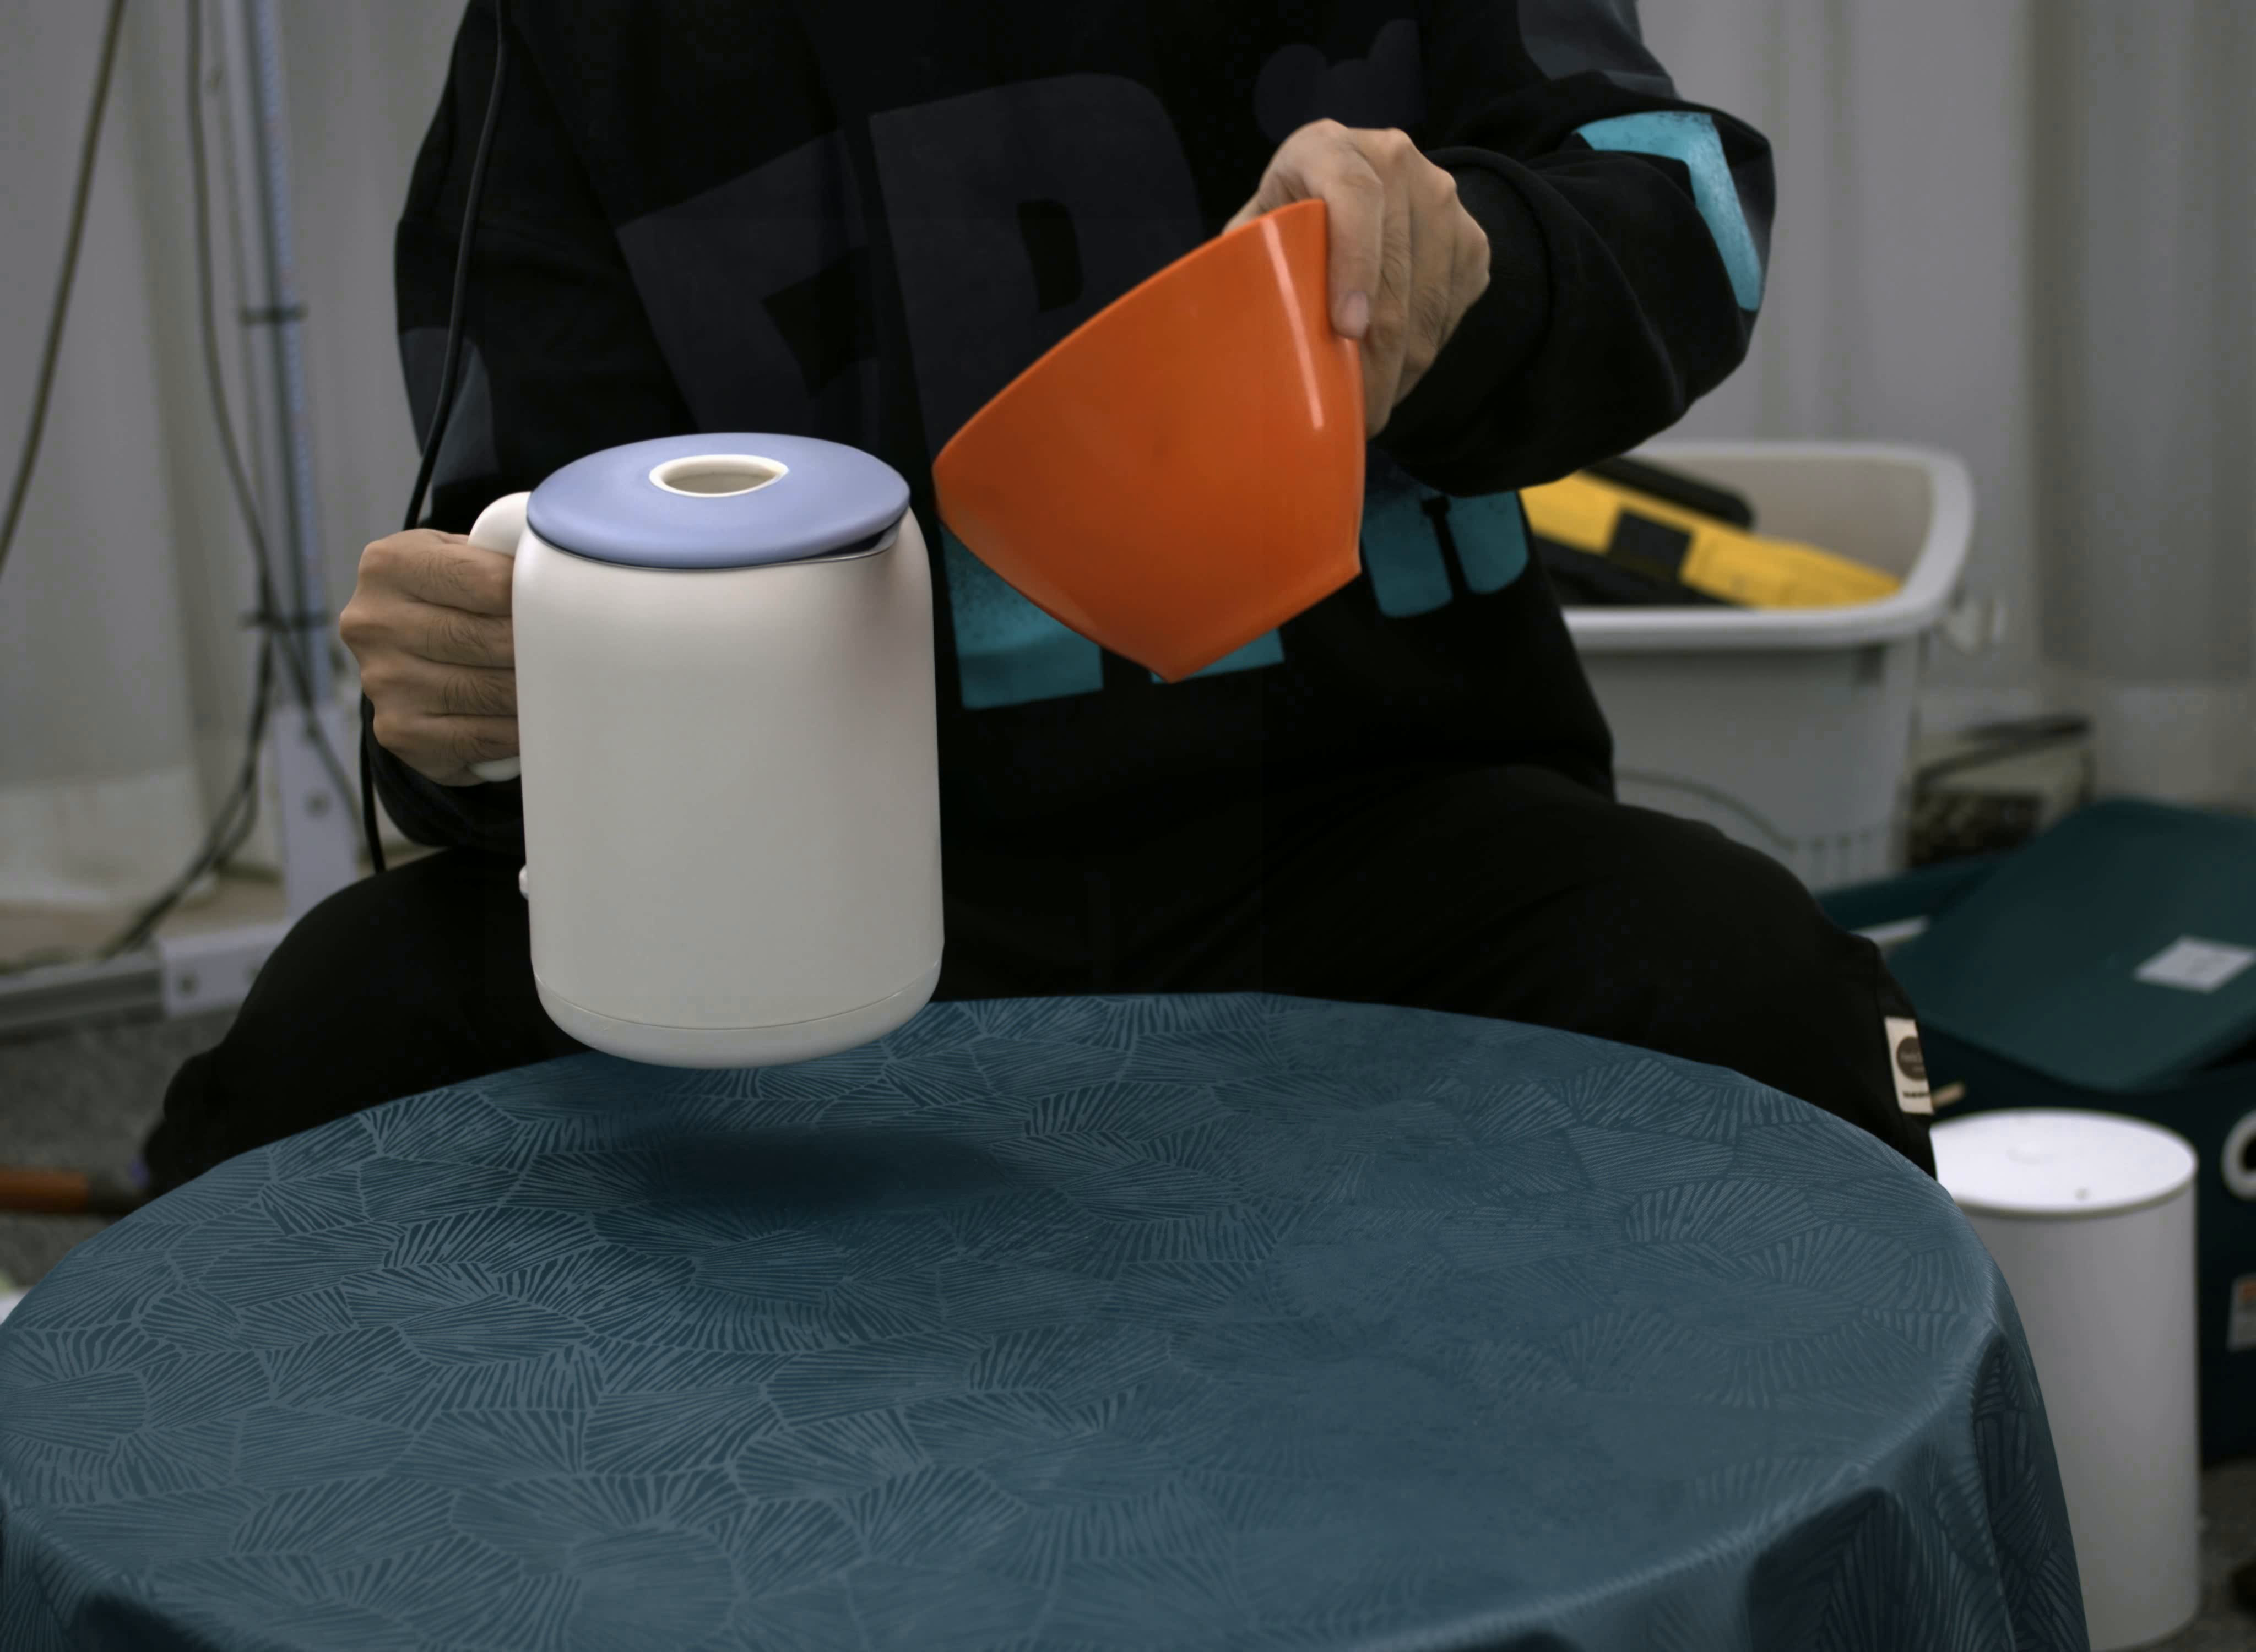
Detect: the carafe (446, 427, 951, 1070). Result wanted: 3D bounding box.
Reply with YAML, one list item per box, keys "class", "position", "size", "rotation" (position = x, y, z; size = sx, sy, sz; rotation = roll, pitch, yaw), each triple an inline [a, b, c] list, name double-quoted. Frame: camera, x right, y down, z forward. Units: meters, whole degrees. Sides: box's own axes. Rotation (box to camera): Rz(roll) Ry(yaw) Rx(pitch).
- class: "carafe"
  position: [-0.143, -0.030, 1.732]
  size: [0.192, 0.181, 0.132]
  rotation: [12, 24, 37]

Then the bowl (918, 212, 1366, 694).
- class: "bowl"
  position: [0.019, -0.102, 1.612]
  size: [0.148, 0.104, 0.148]
  rotation: [-30, 3, 1]
